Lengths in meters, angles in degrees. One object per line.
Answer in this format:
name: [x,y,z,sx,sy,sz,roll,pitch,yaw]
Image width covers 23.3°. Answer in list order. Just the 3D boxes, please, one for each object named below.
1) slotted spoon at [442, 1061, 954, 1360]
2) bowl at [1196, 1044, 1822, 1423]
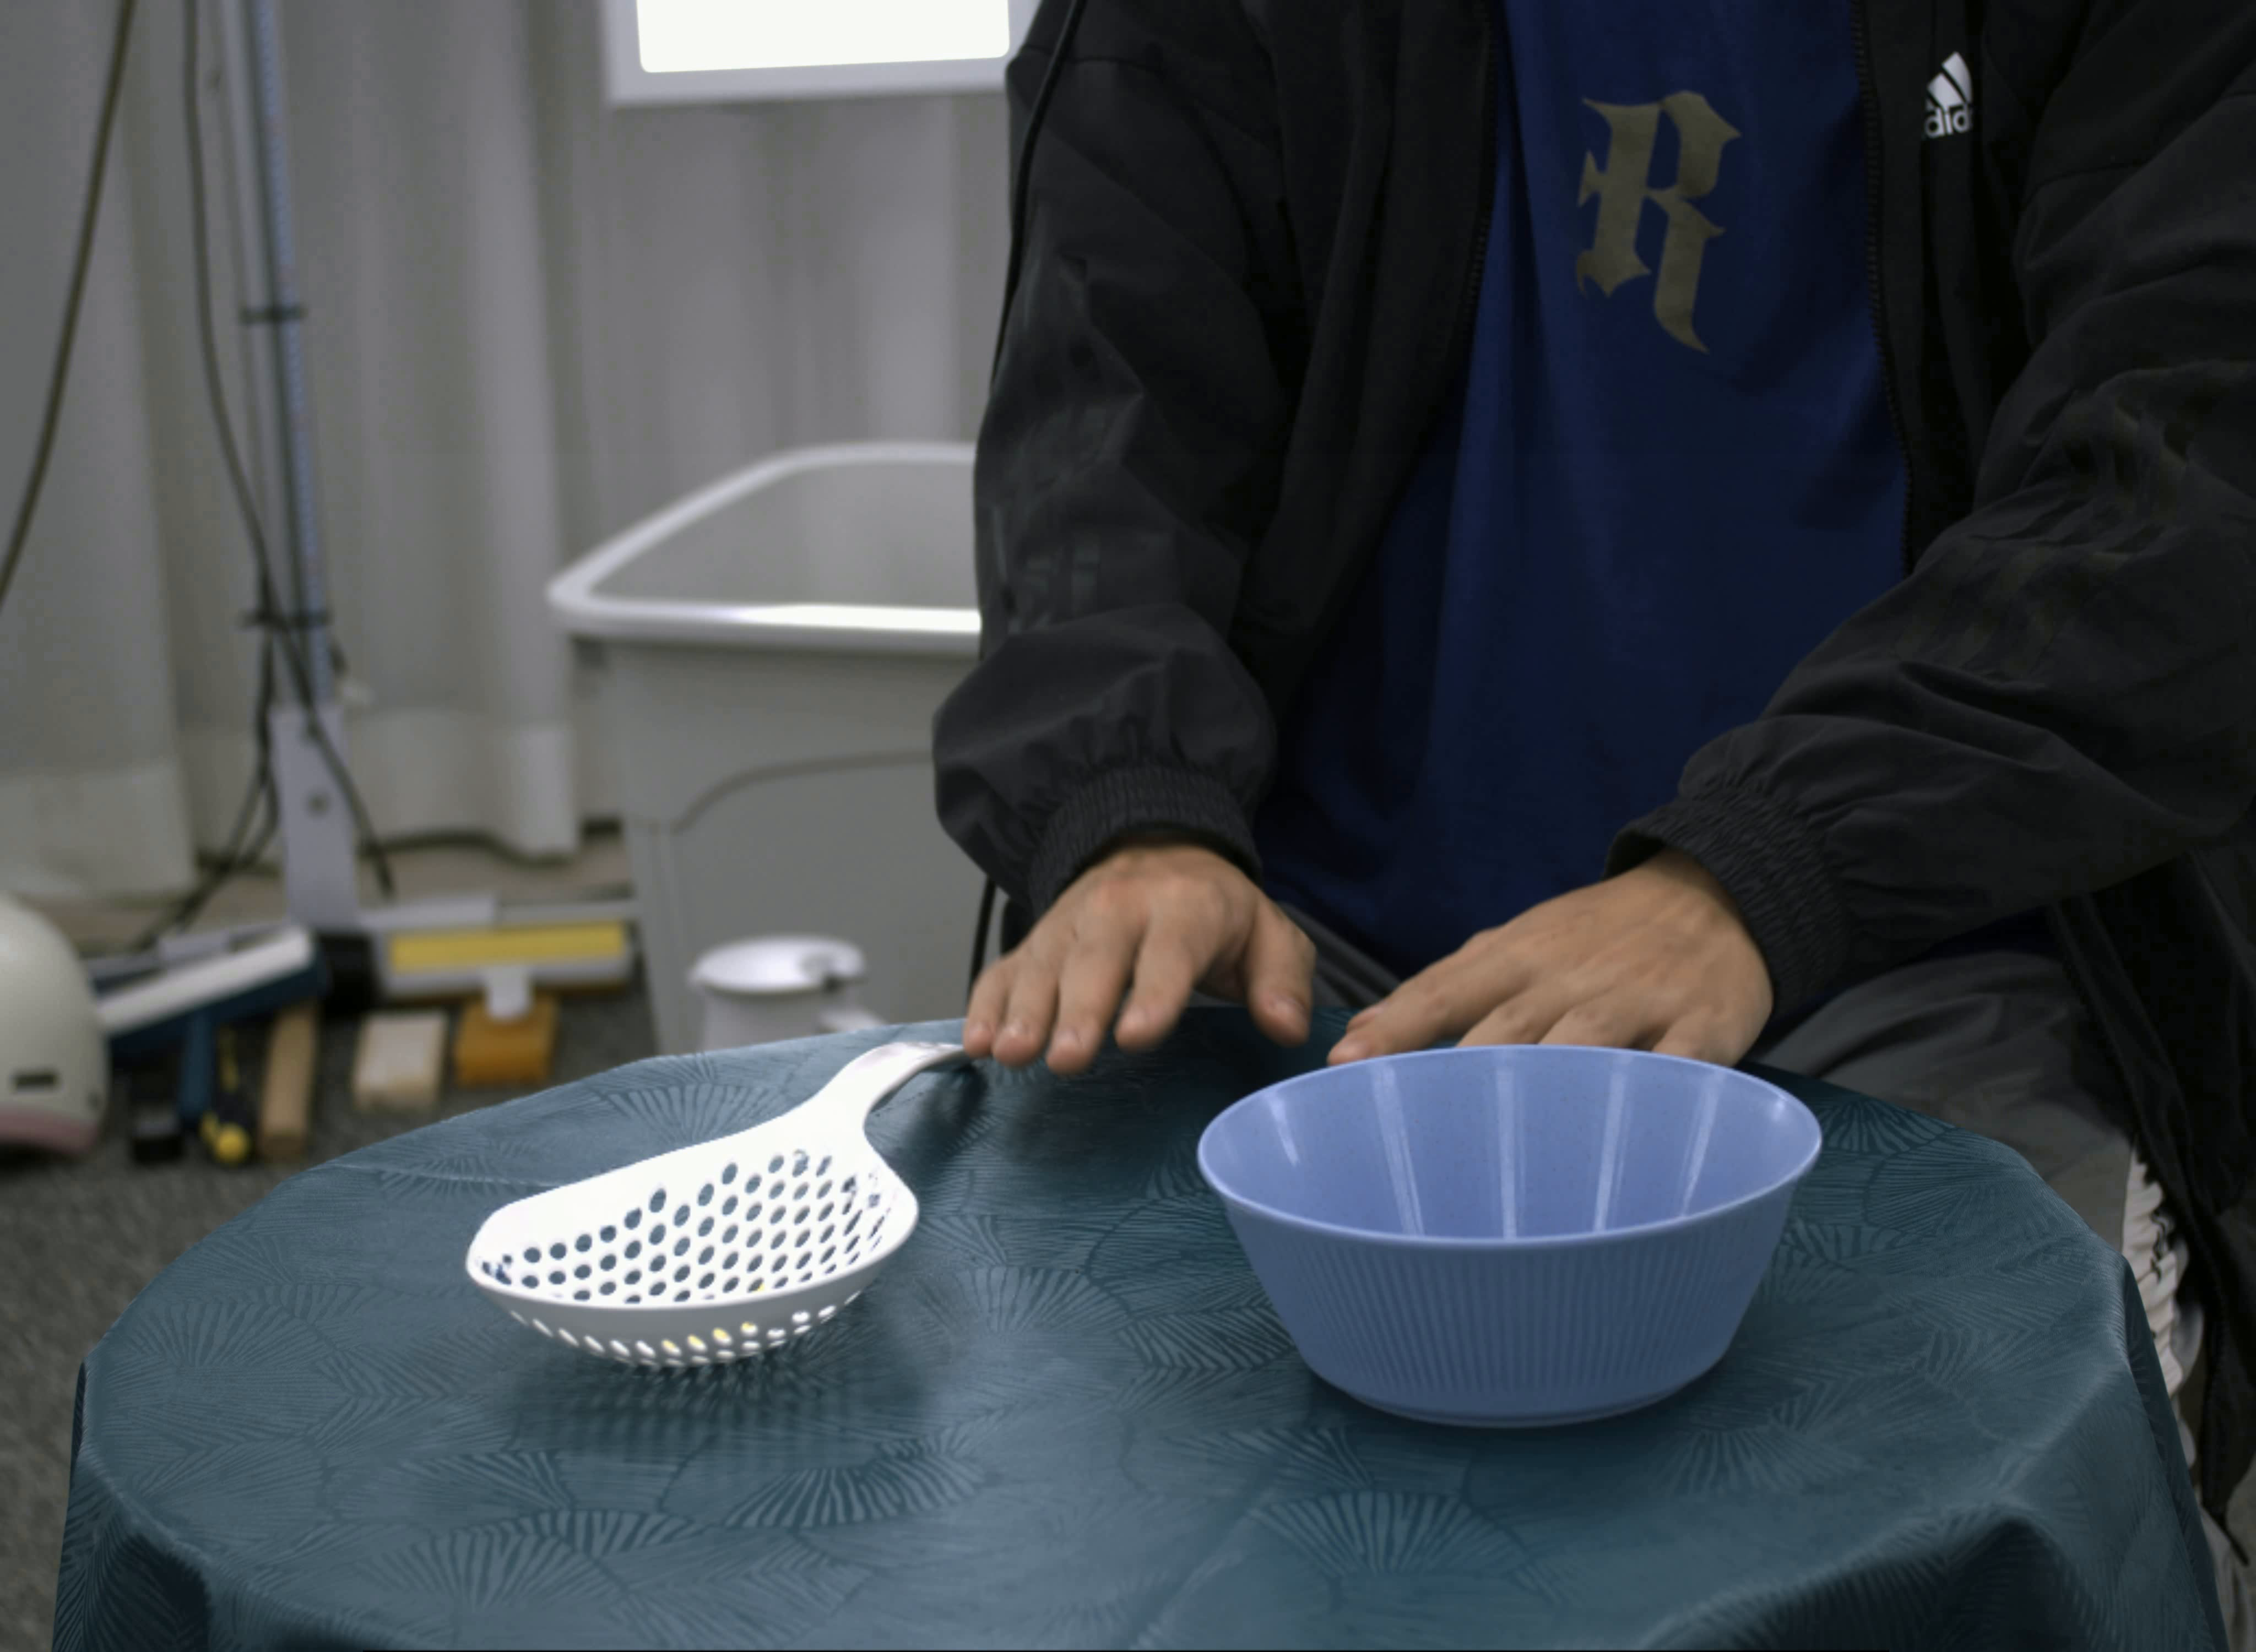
slotted spoon: [-0.100,0.105,1.686,0.136,0.050,0.349,-3,14,15]
bowl: [0.108,0.117,1.542,0.175,0.070,0.177,-2,15,0]
